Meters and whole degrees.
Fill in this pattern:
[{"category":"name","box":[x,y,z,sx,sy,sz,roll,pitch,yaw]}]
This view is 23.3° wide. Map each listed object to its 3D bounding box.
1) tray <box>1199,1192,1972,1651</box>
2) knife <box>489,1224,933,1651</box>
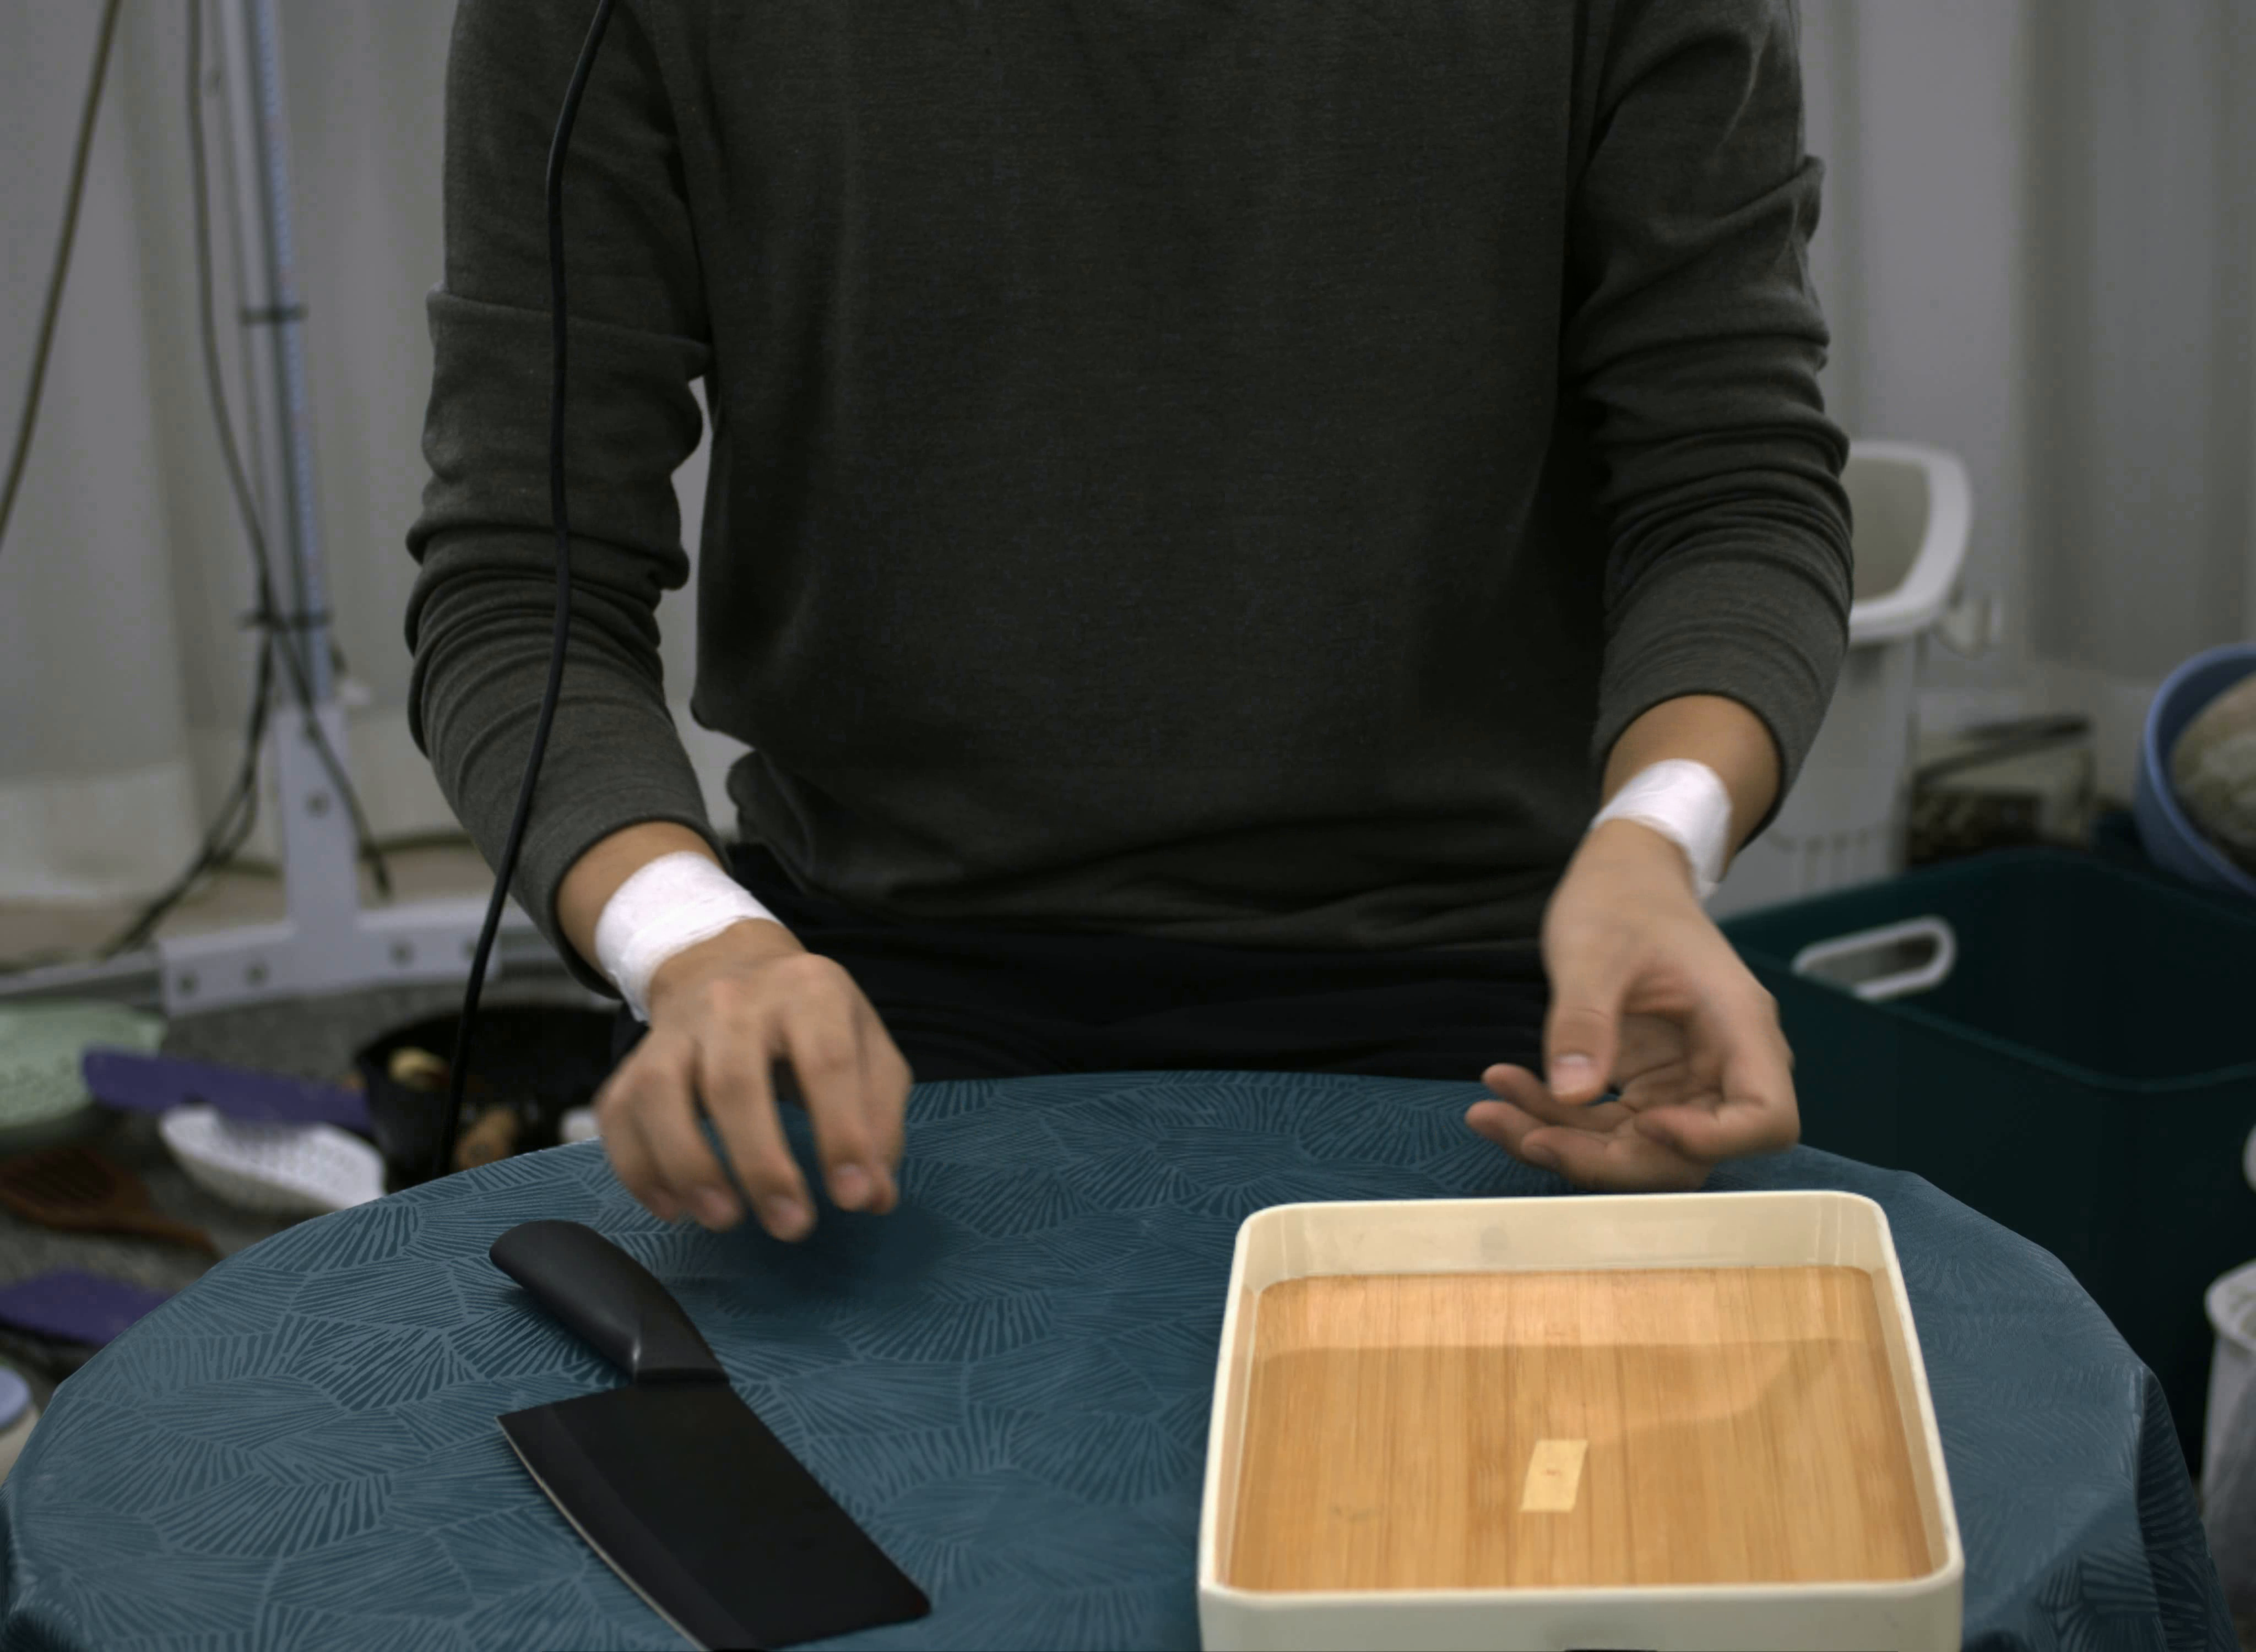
[{"category":"tray","box":[0.120,0.160,1.471,0.191,0.027,0.302,-1,15,4]},{"category":"knife","box":[-0.132,0.167,1.518,0.080,0.021,0.305,-8,17,-17]}]
